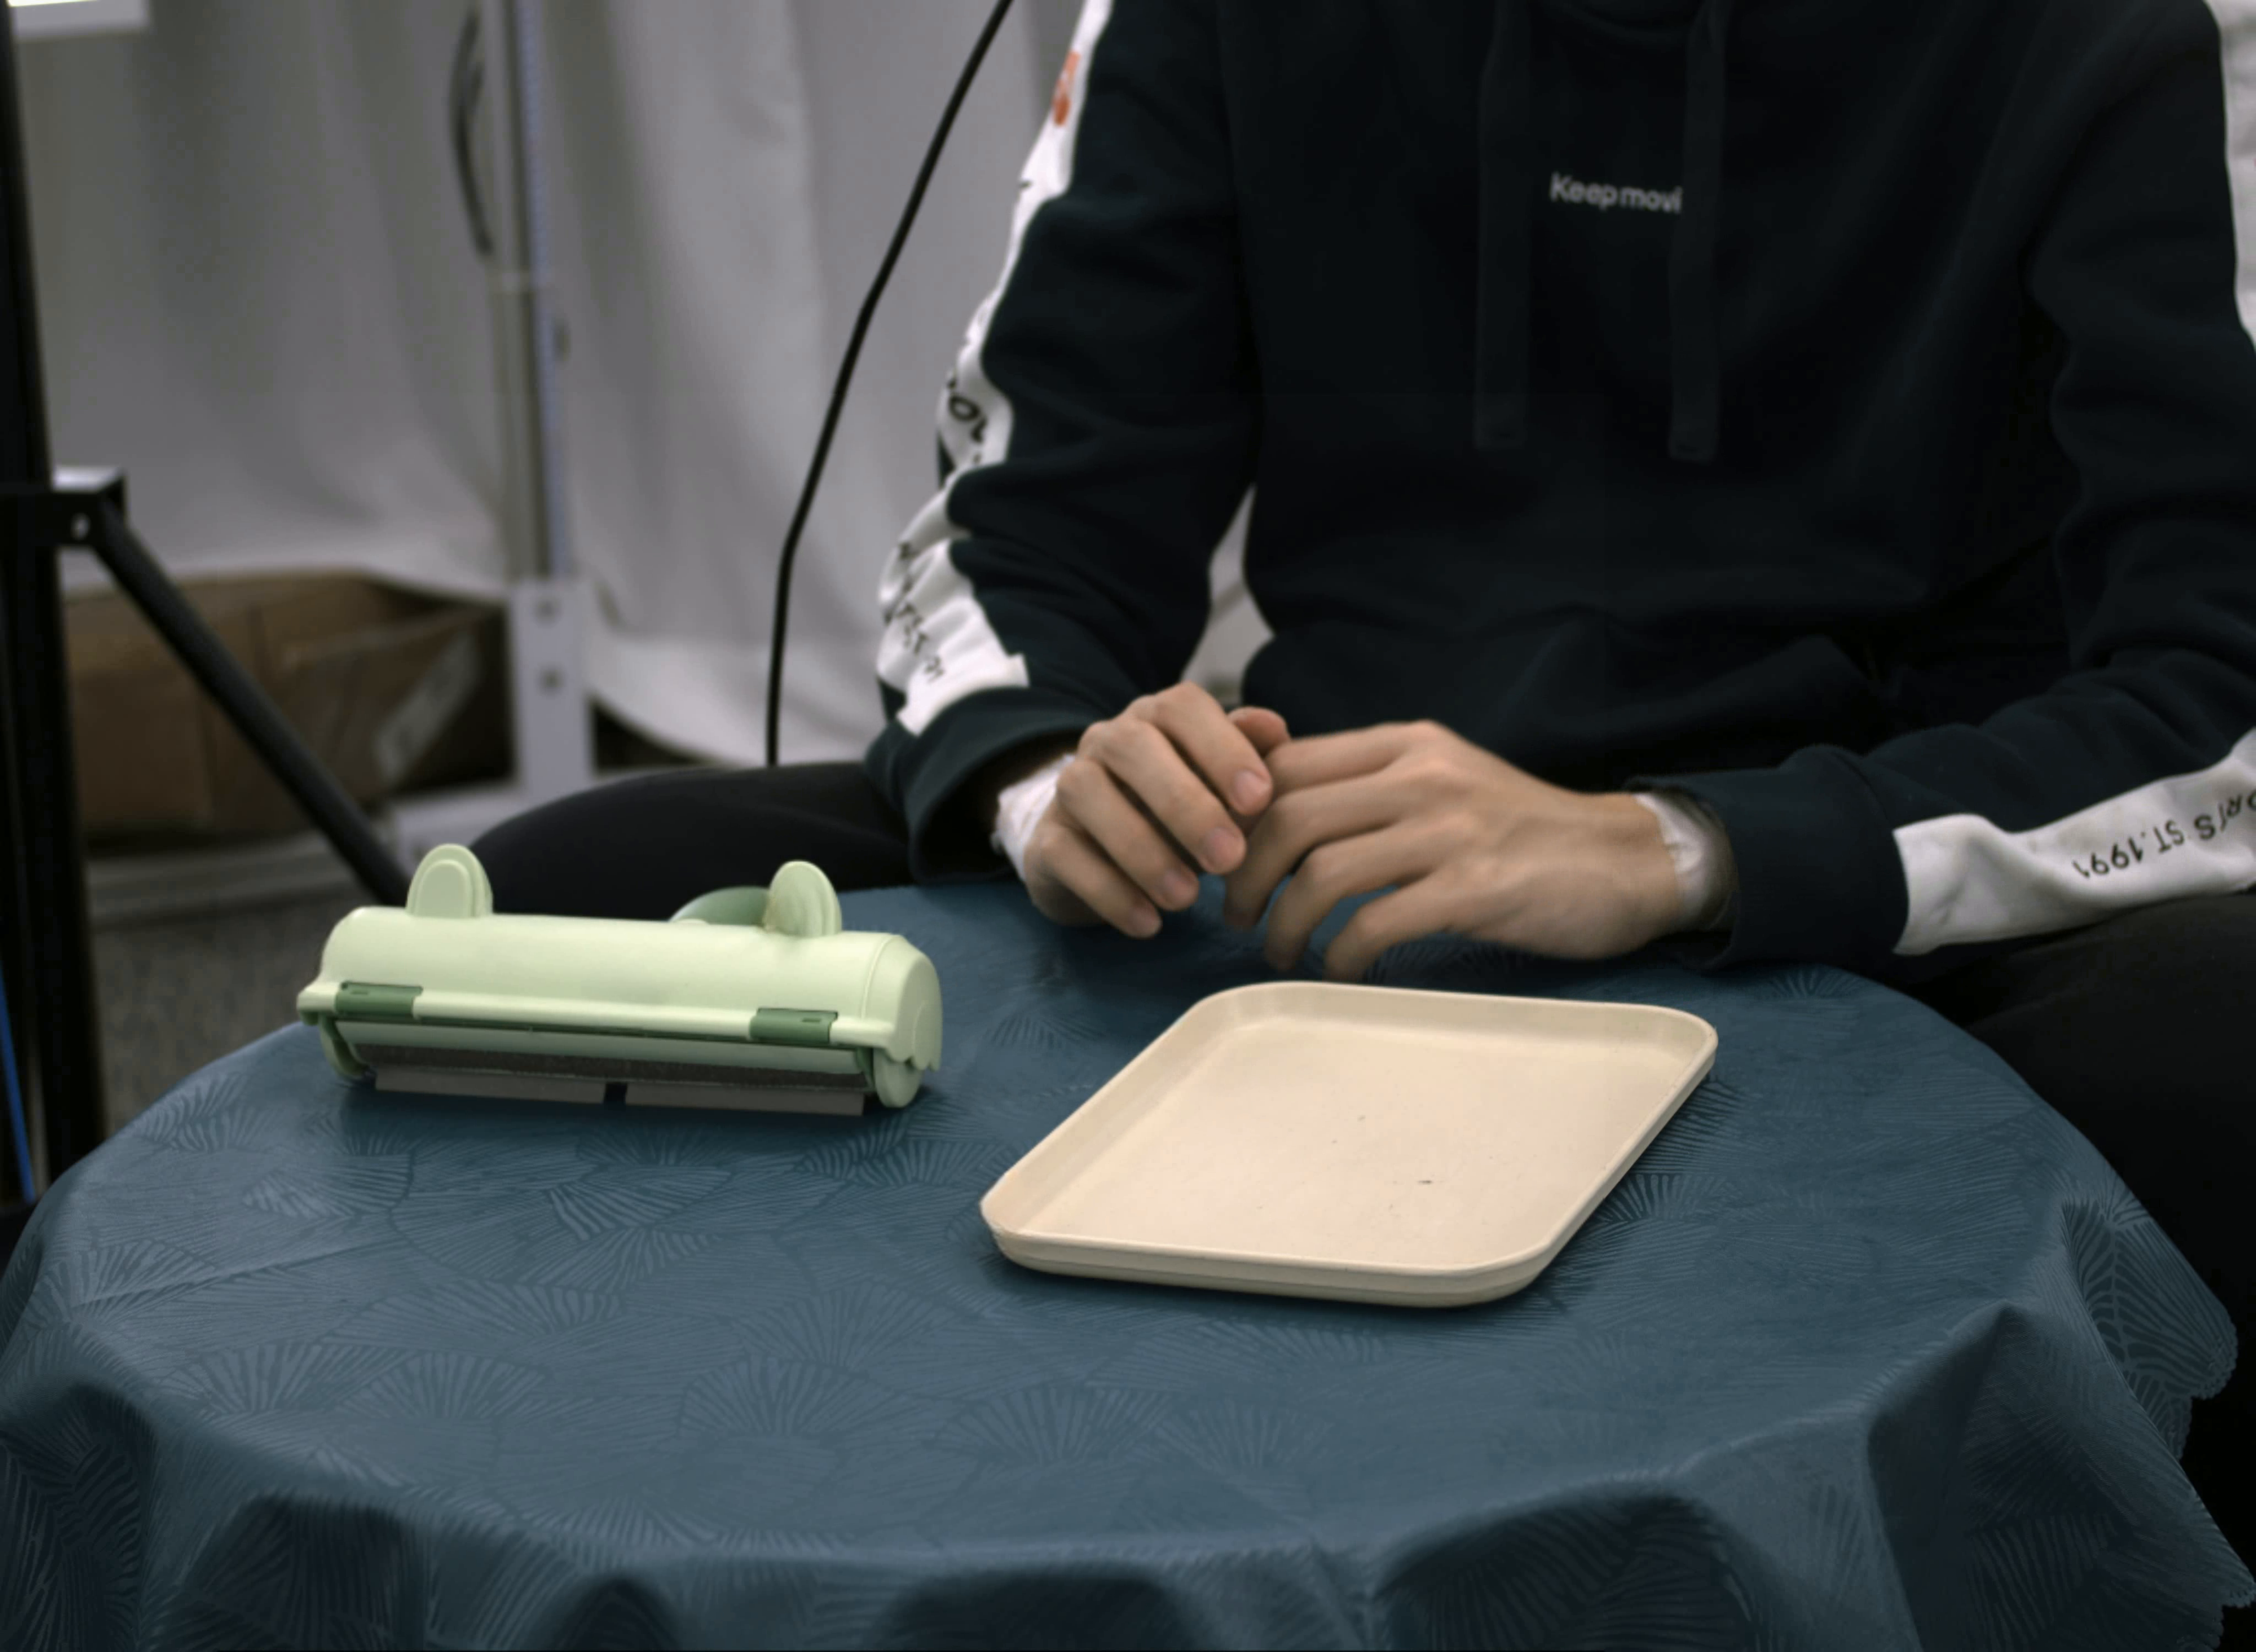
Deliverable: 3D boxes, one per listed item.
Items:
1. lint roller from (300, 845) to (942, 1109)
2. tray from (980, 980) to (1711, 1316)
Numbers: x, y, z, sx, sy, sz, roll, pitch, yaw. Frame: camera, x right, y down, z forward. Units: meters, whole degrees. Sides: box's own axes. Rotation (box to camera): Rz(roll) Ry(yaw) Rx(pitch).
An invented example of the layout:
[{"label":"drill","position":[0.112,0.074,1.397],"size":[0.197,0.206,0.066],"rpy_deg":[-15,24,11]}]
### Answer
[{"label":"lint roller","position":[-0.143,0.031,1.712],"size":[0.200,0.082,0.182],"rpy_deg":[2,21,17]},{"label":"tray","position":[0.069,0.094,1.565],"size":[0.173,0.017,0.237],"rpy_deg":[4,17,21]}]
